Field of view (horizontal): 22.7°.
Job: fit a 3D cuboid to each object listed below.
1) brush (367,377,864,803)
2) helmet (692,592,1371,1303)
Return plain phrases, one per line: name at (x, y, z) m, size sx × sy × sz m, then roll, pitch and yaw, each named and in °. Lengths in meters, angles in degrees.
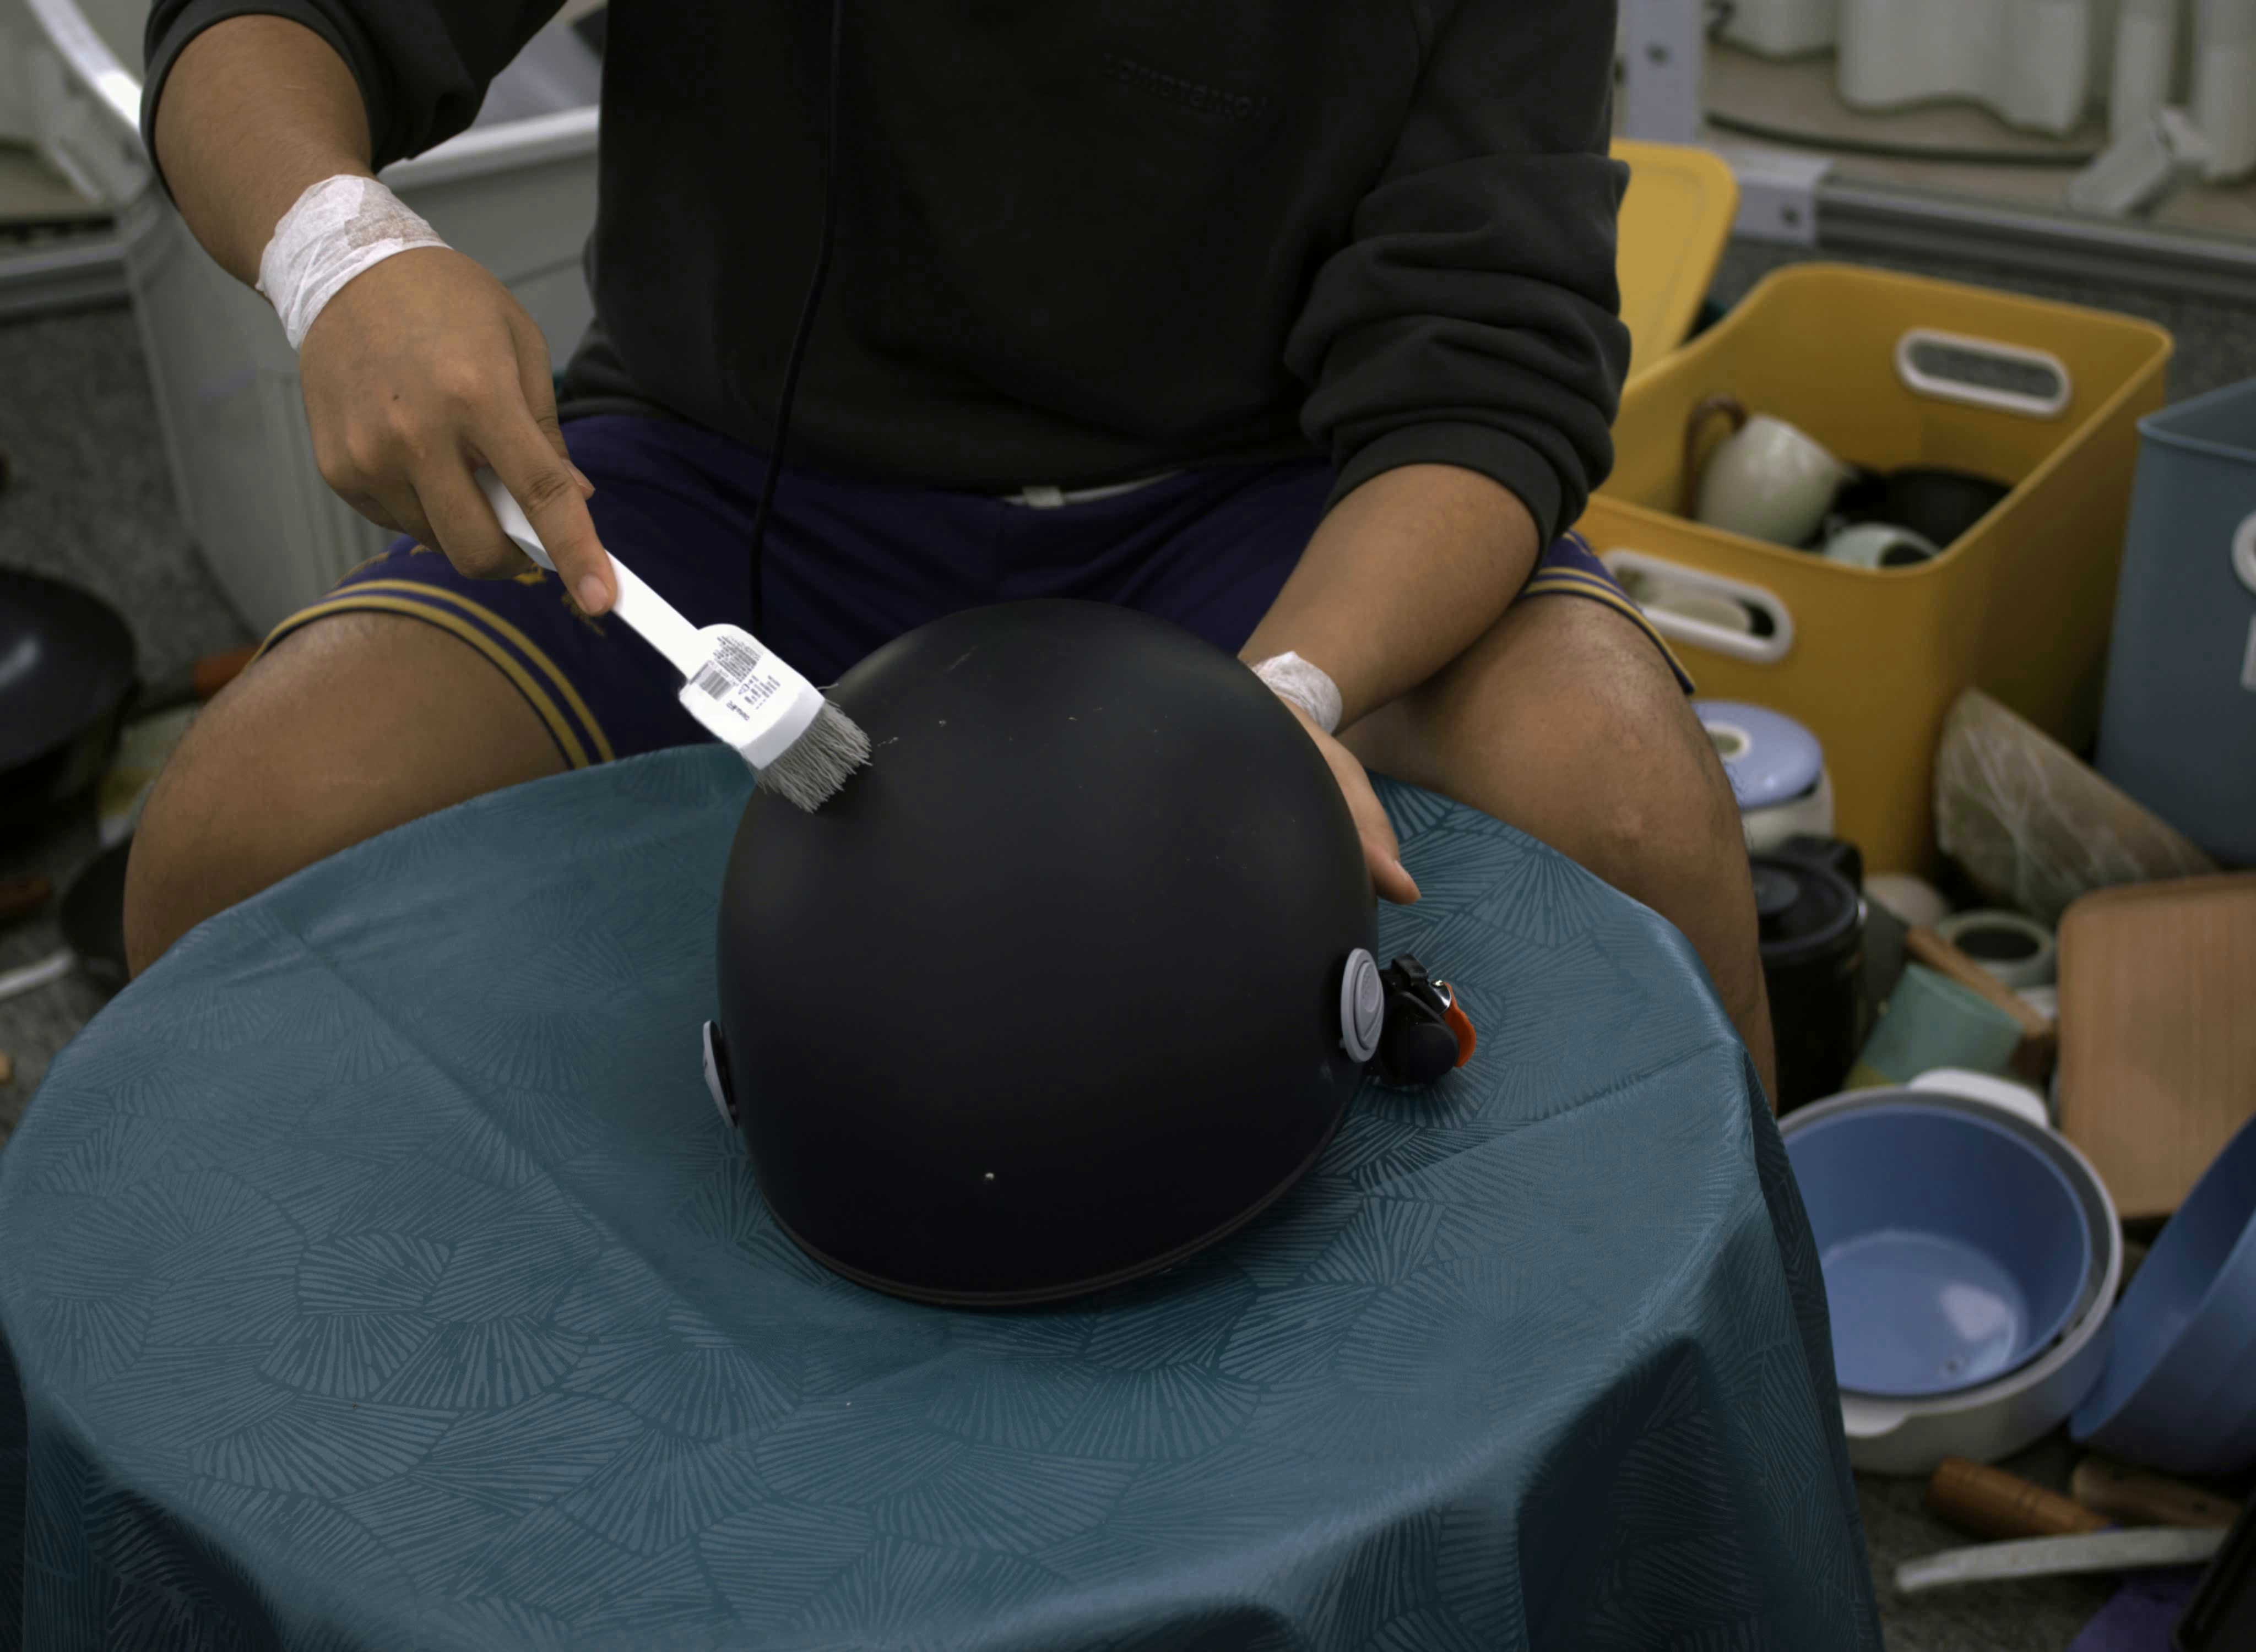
brush at (-0.173, -0.080, 1.886) m, size 0.034 × 0.050 × 0.244 m, roll -47°, pitch 53°, yaw -8°
helmet at (-0.035, 0.021, 1.874) m, size 0.228 × 0.165 × 0.278 m, roll -6°, pitch 30°, yaw 12°
